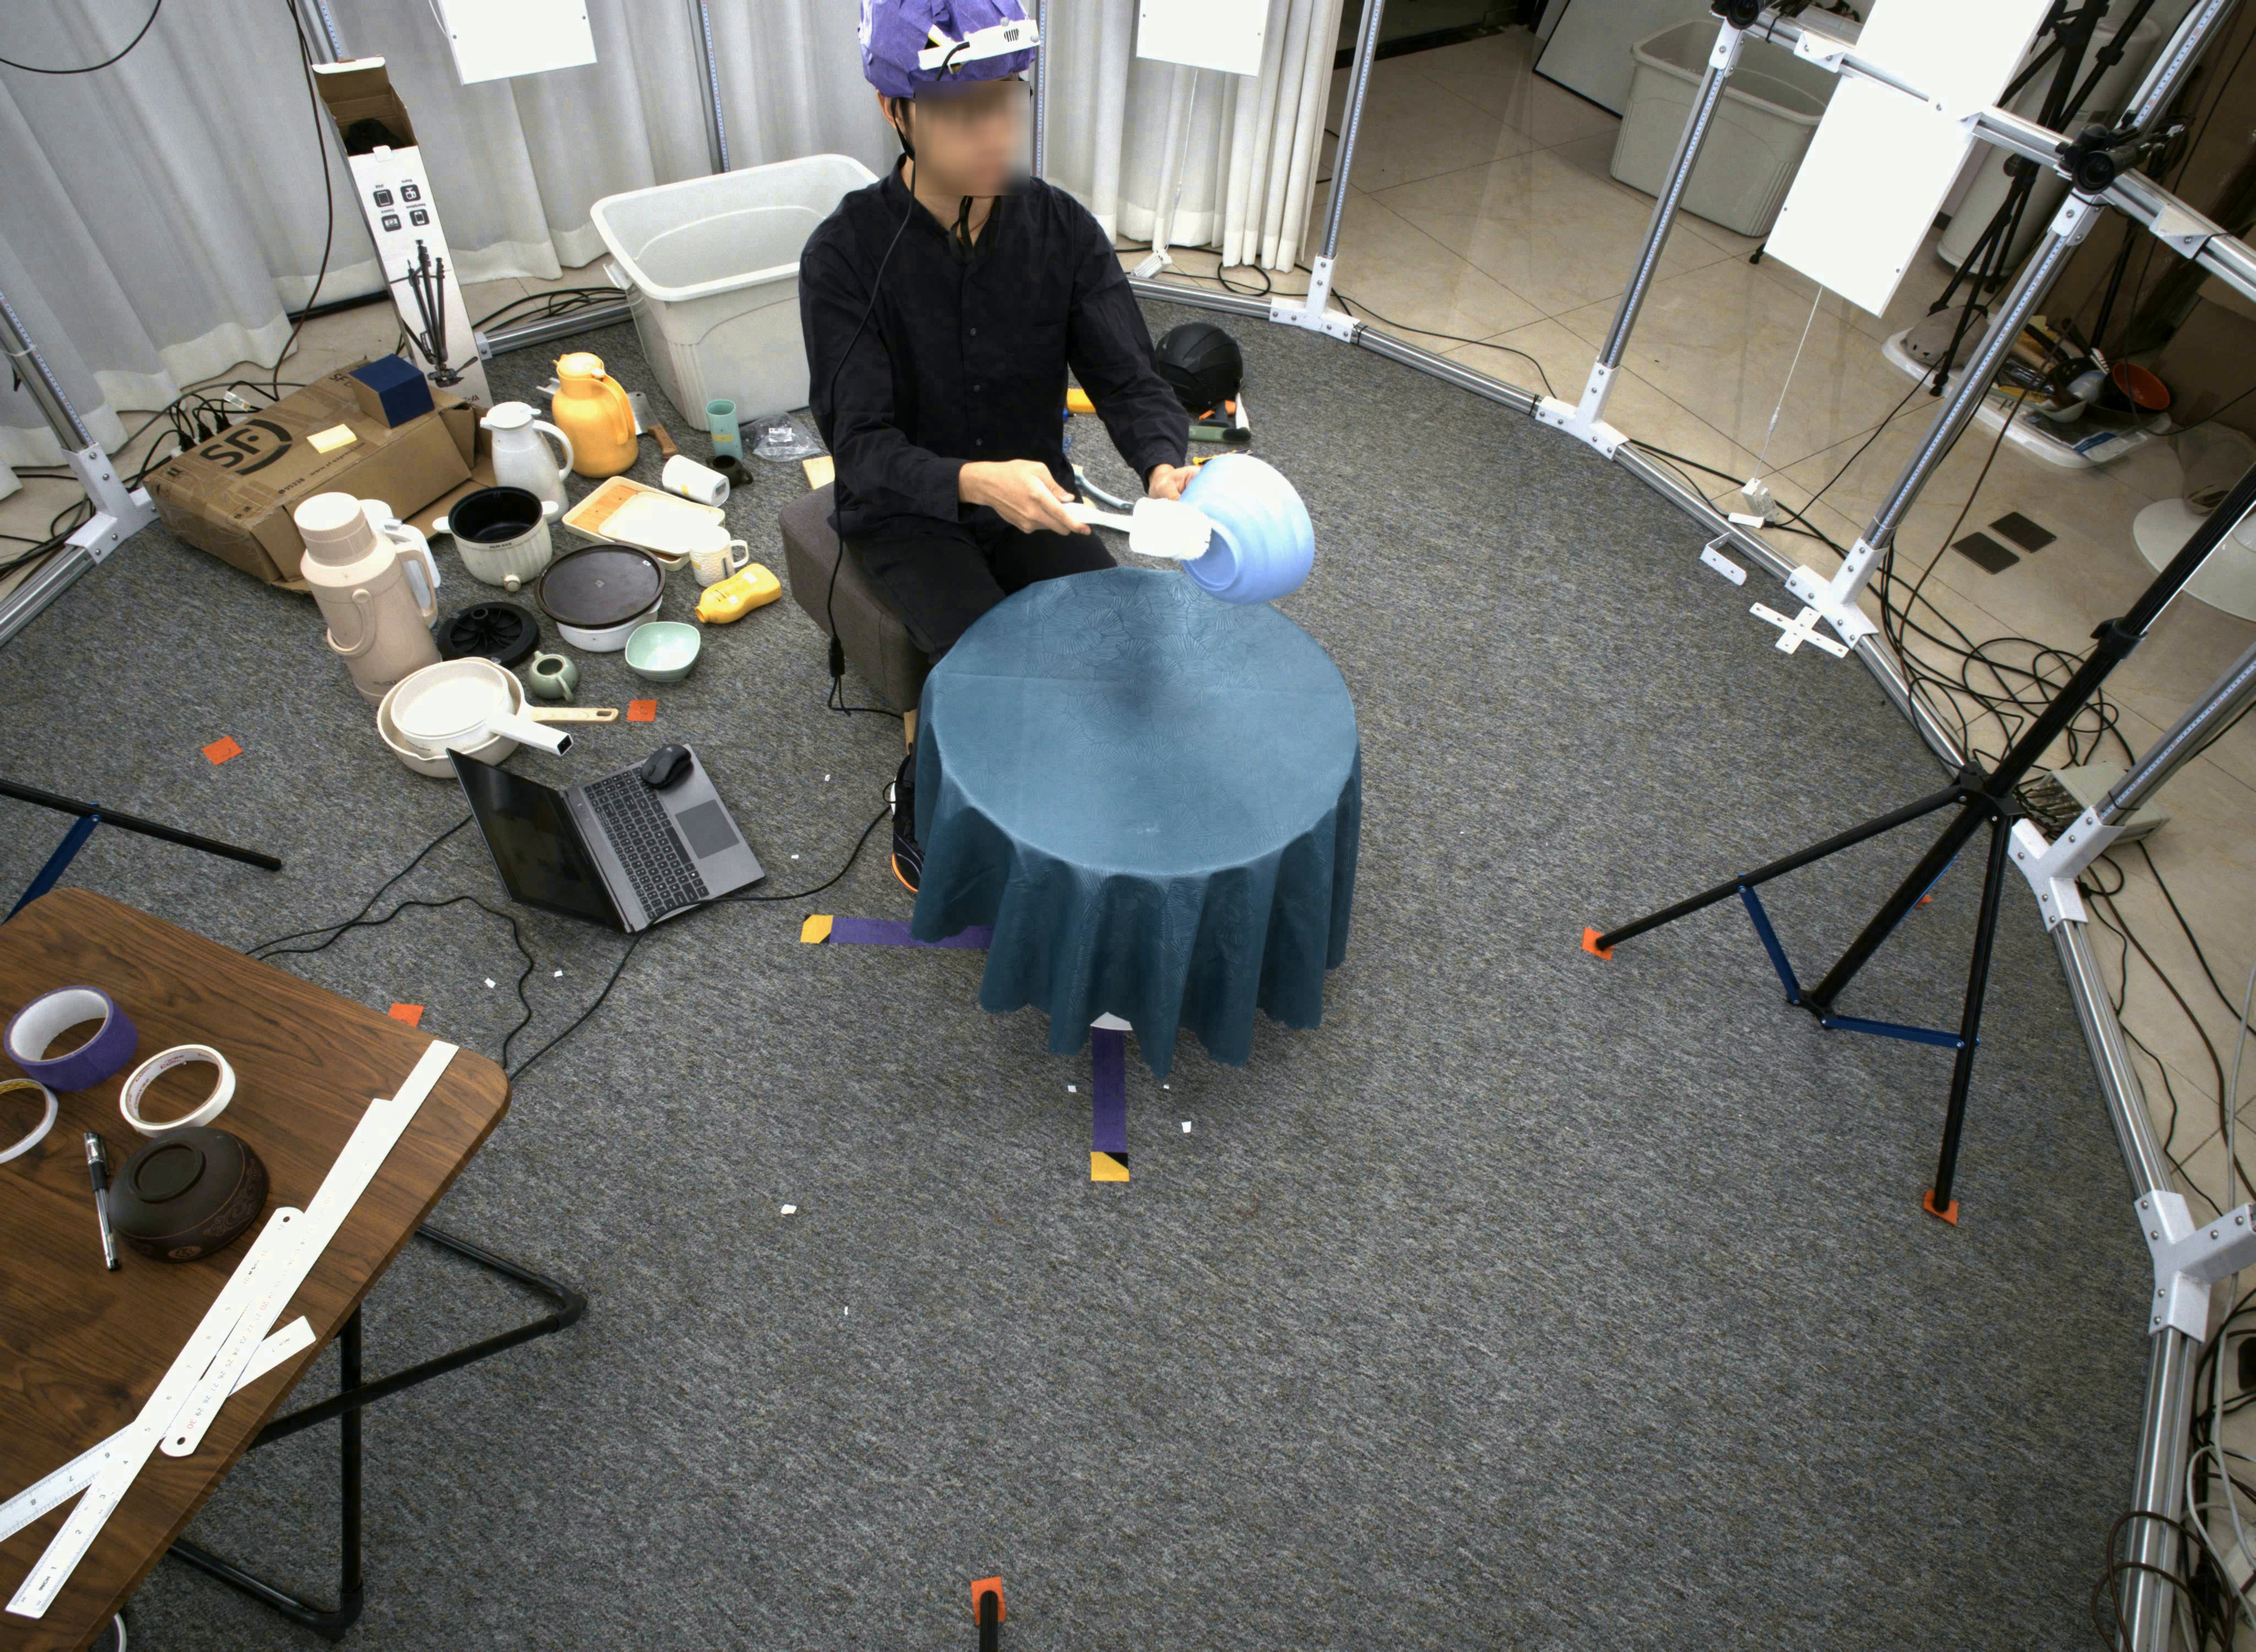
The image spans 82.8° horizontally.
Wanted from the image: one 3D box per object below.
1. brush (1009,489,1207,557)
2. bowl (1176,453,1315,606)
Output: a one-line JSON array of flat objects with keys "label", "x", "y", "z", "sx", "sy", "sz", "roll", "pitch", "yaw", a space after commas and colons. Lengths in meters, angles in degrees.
[{"label": "brush", "x": -0.019, "y": -0.400, "z": 1.645, "sx": 0.329, "sy": 0.083, "sz": 0.084, "roll": 23, "pitch": 74, "yaw": 40}, {"label": "bowl", "x": 0.126, "y": -0.354, "z": 1.609, "sx": 0.199, "sy": 0.192, "sz": 0.096, "roll": 35, "pitch": 53, "yaw": 23}]
